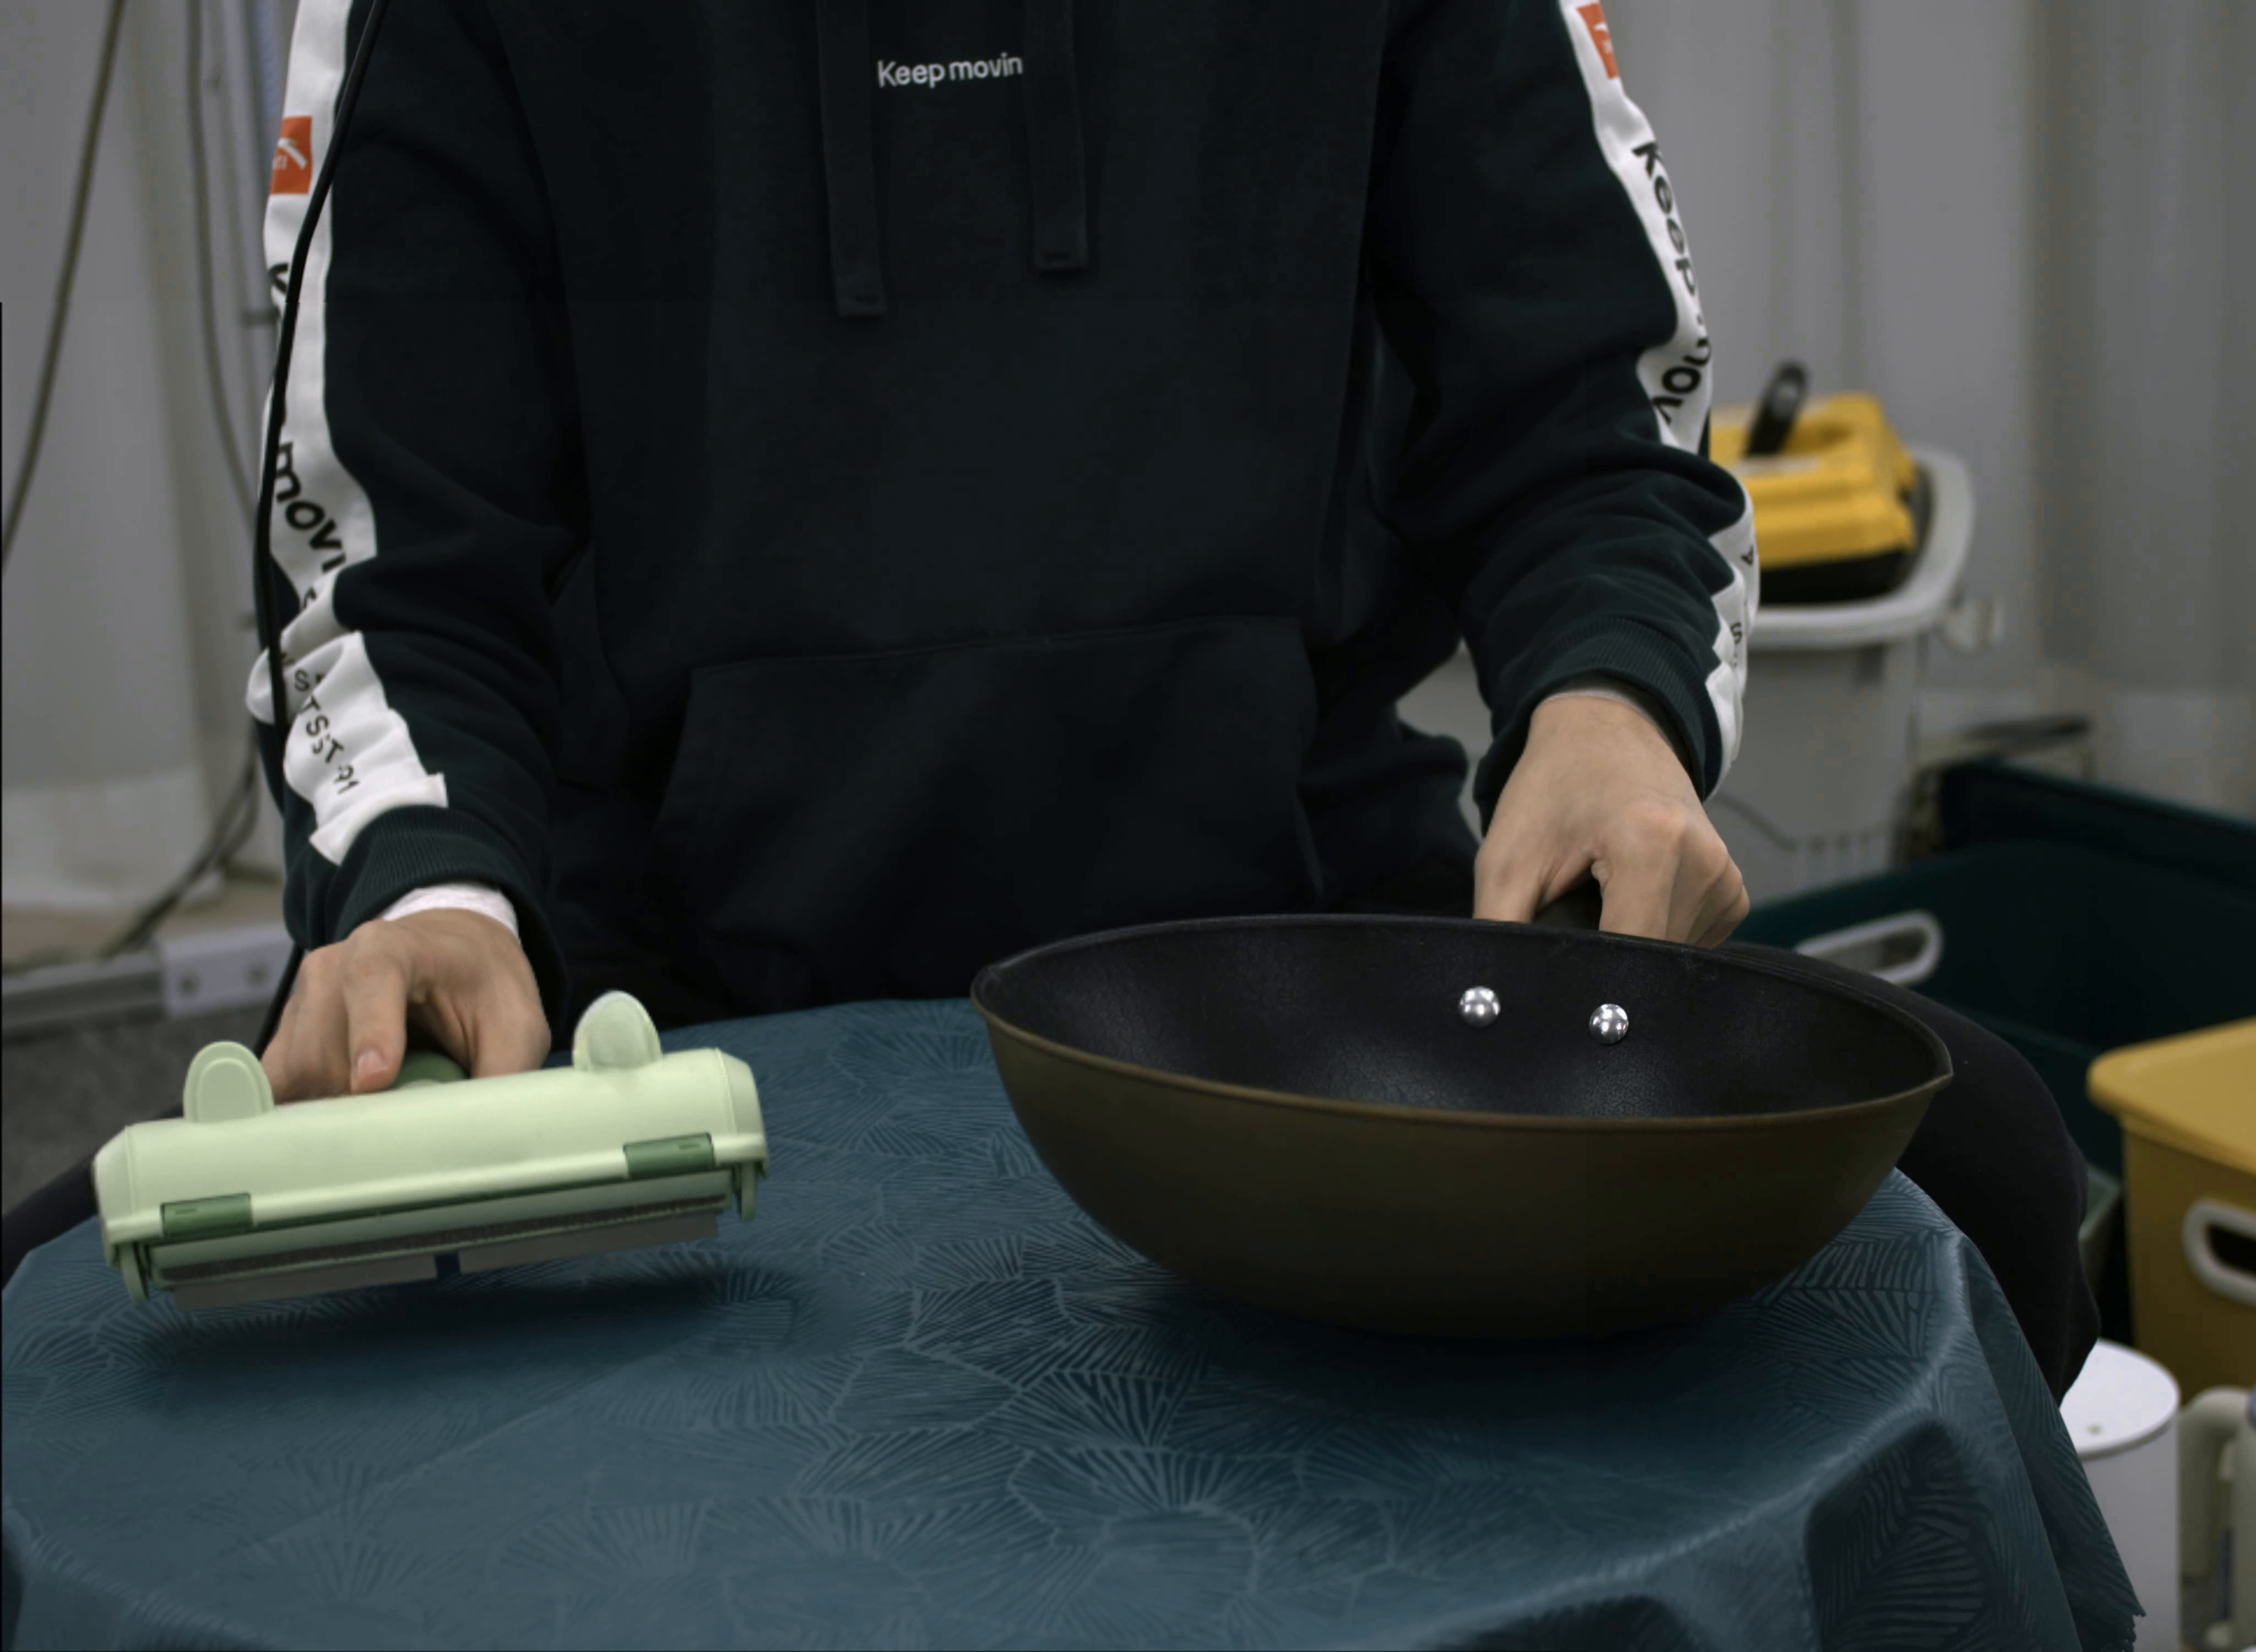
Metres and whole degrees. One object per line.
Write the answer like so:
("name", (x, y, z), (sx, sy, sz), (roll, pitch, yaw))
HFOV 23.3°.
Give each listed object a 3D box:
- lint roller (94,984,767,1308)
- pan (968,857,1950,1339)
("lint roller", (-0.218, 0.079, 1.678), (0.198, 0.081, 0.185), (-8, 21, -8))
("pan", (0.116, 0.078, 1.675), (0.288, 0.087, 0.463), (7, 9, 15))
